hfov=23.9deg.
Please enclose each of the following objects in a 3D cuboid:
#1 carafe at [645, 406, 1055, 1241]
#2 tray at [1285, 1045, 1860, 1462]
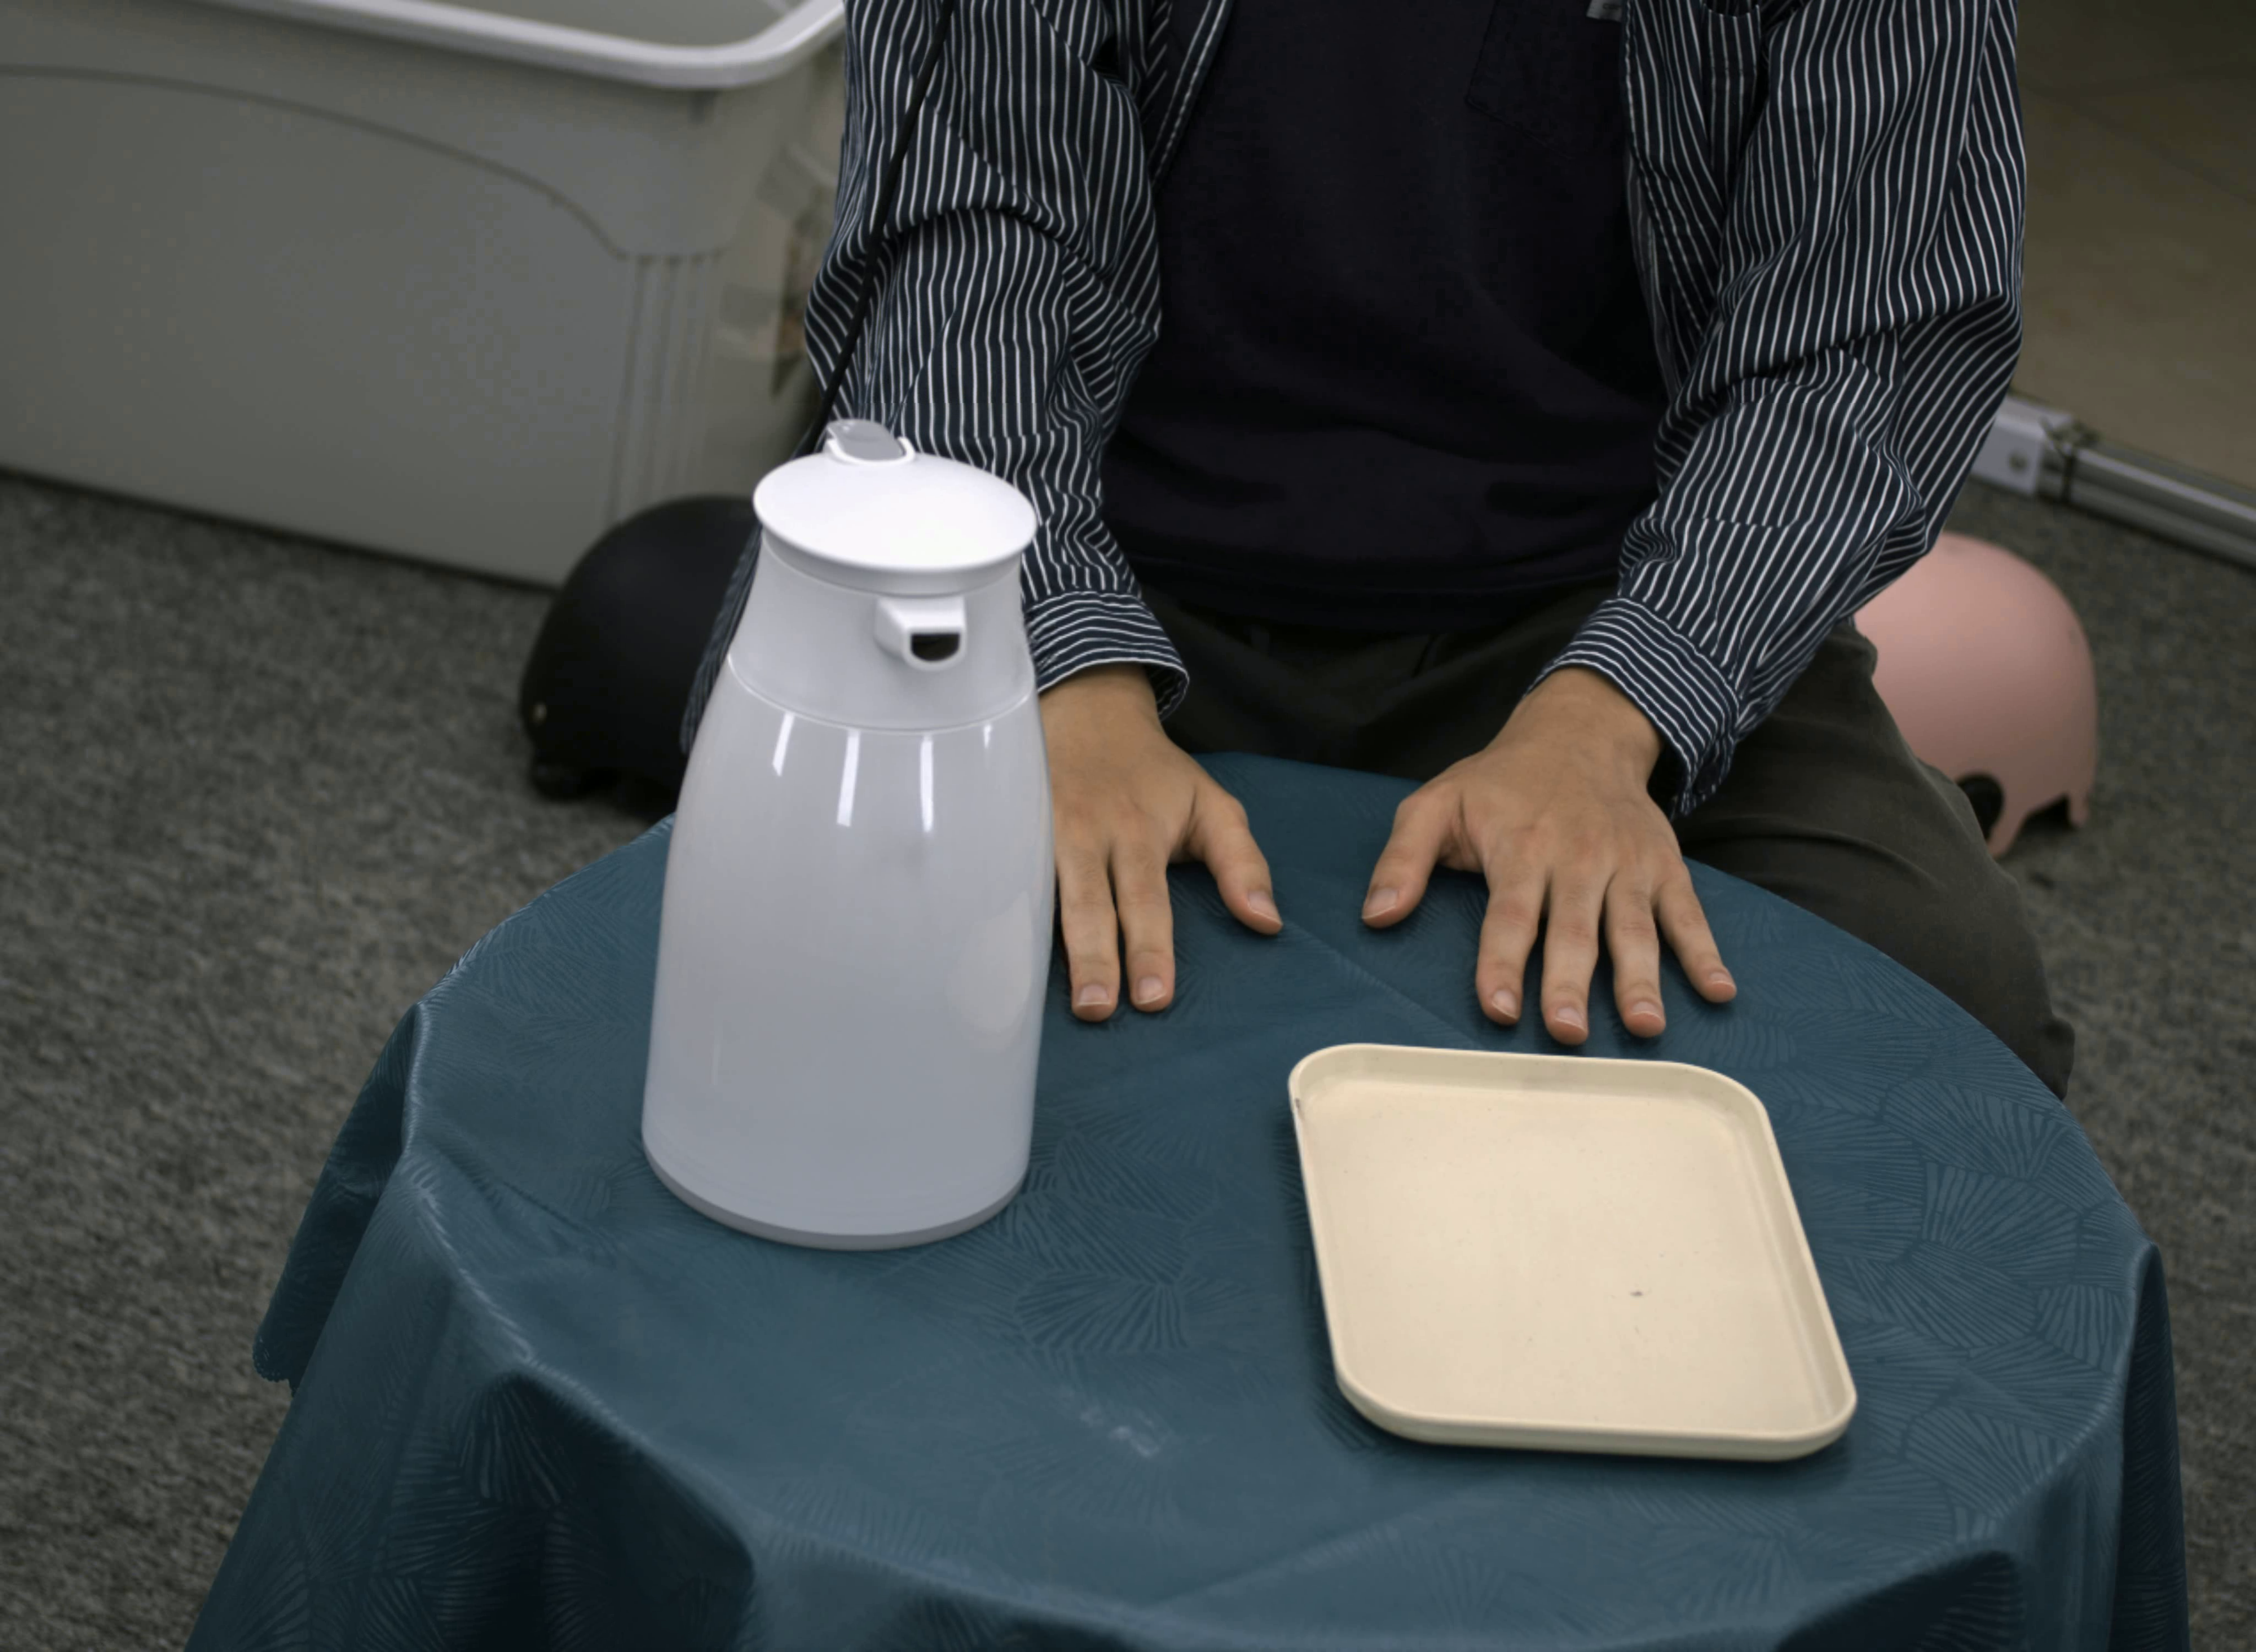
[{"bbox_3d":[-0.094,-0.011,1.766,0.132,0.248,0.169,-5,27,-20],"label":"carafe"},{"bbox_3d":[0.143,0.142,1.775,0.170,0.017,0.241,4,26,-6],"label":"tray"}]
